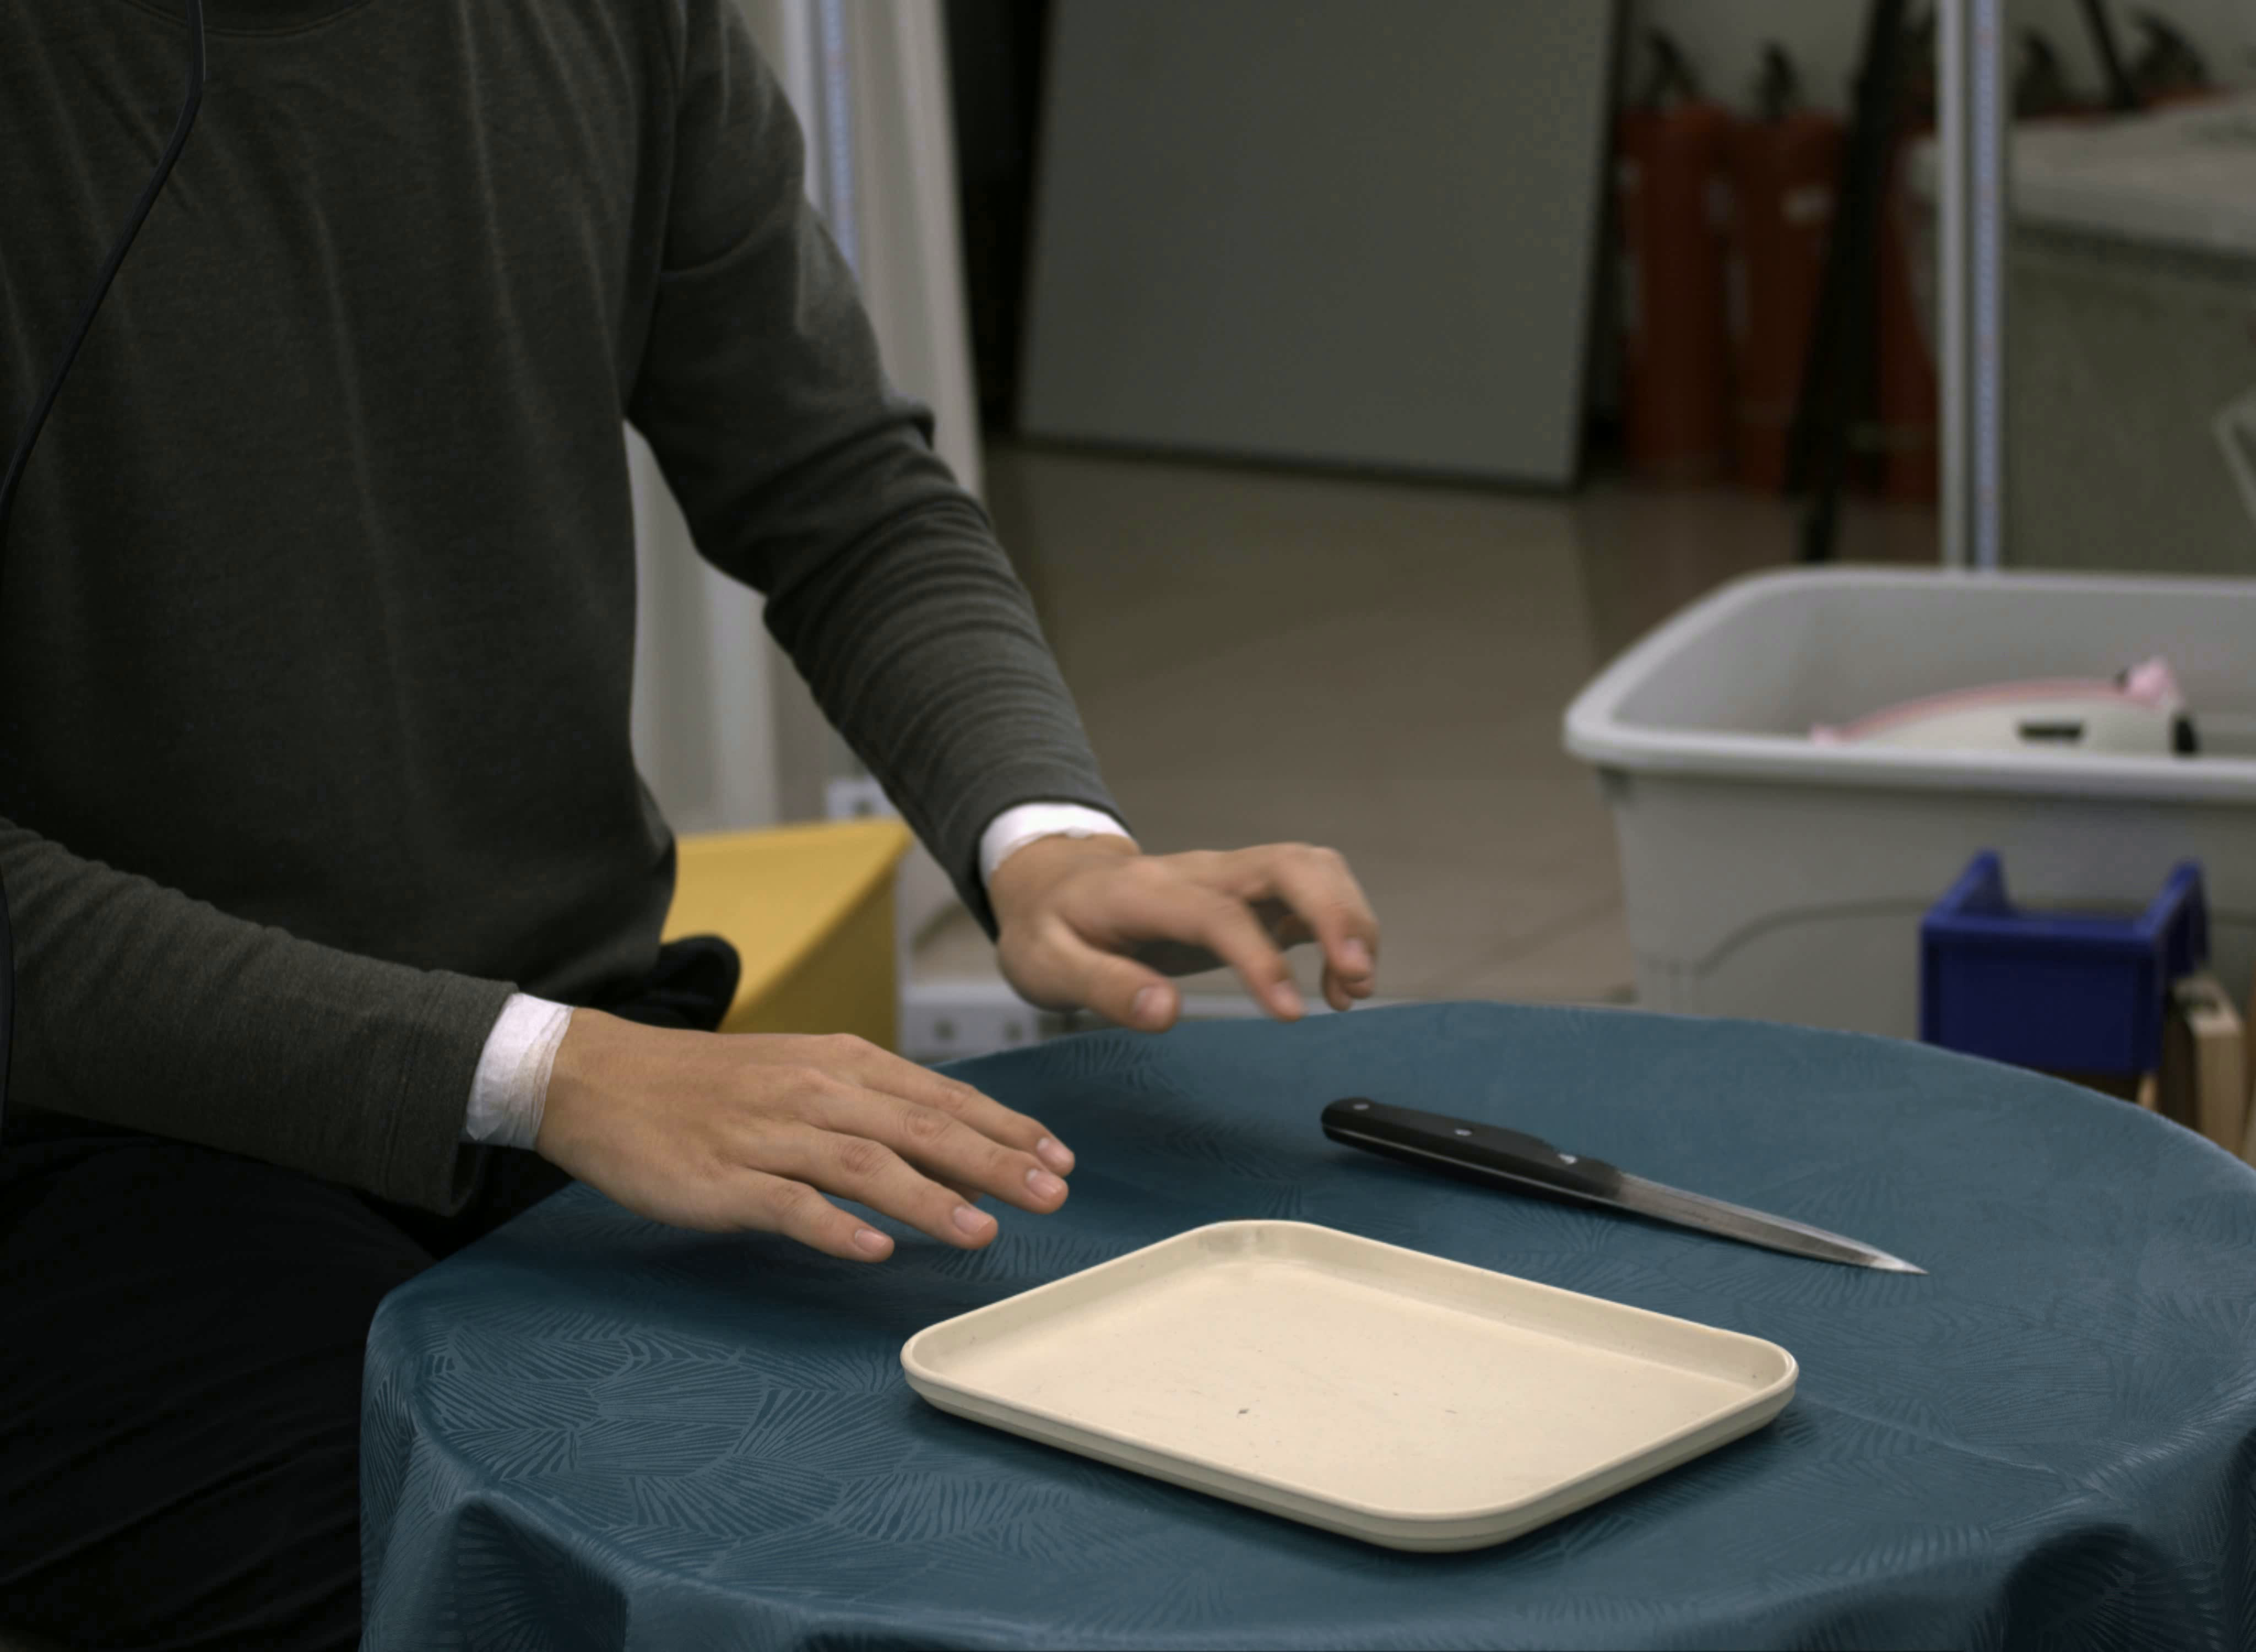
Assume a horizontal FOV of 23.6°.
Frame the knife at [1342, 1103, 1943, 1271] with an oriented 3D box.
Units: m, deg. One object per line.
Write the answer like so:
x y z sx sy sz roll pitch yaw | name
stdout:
0.159 0.118 1.718 0.240 0.016 0.024 12 23 41 | knife

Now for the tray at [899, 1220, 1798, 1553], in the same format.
0.062 0.160 1.557 0.168 0.017 0.242 -17 18 -41 | tray
